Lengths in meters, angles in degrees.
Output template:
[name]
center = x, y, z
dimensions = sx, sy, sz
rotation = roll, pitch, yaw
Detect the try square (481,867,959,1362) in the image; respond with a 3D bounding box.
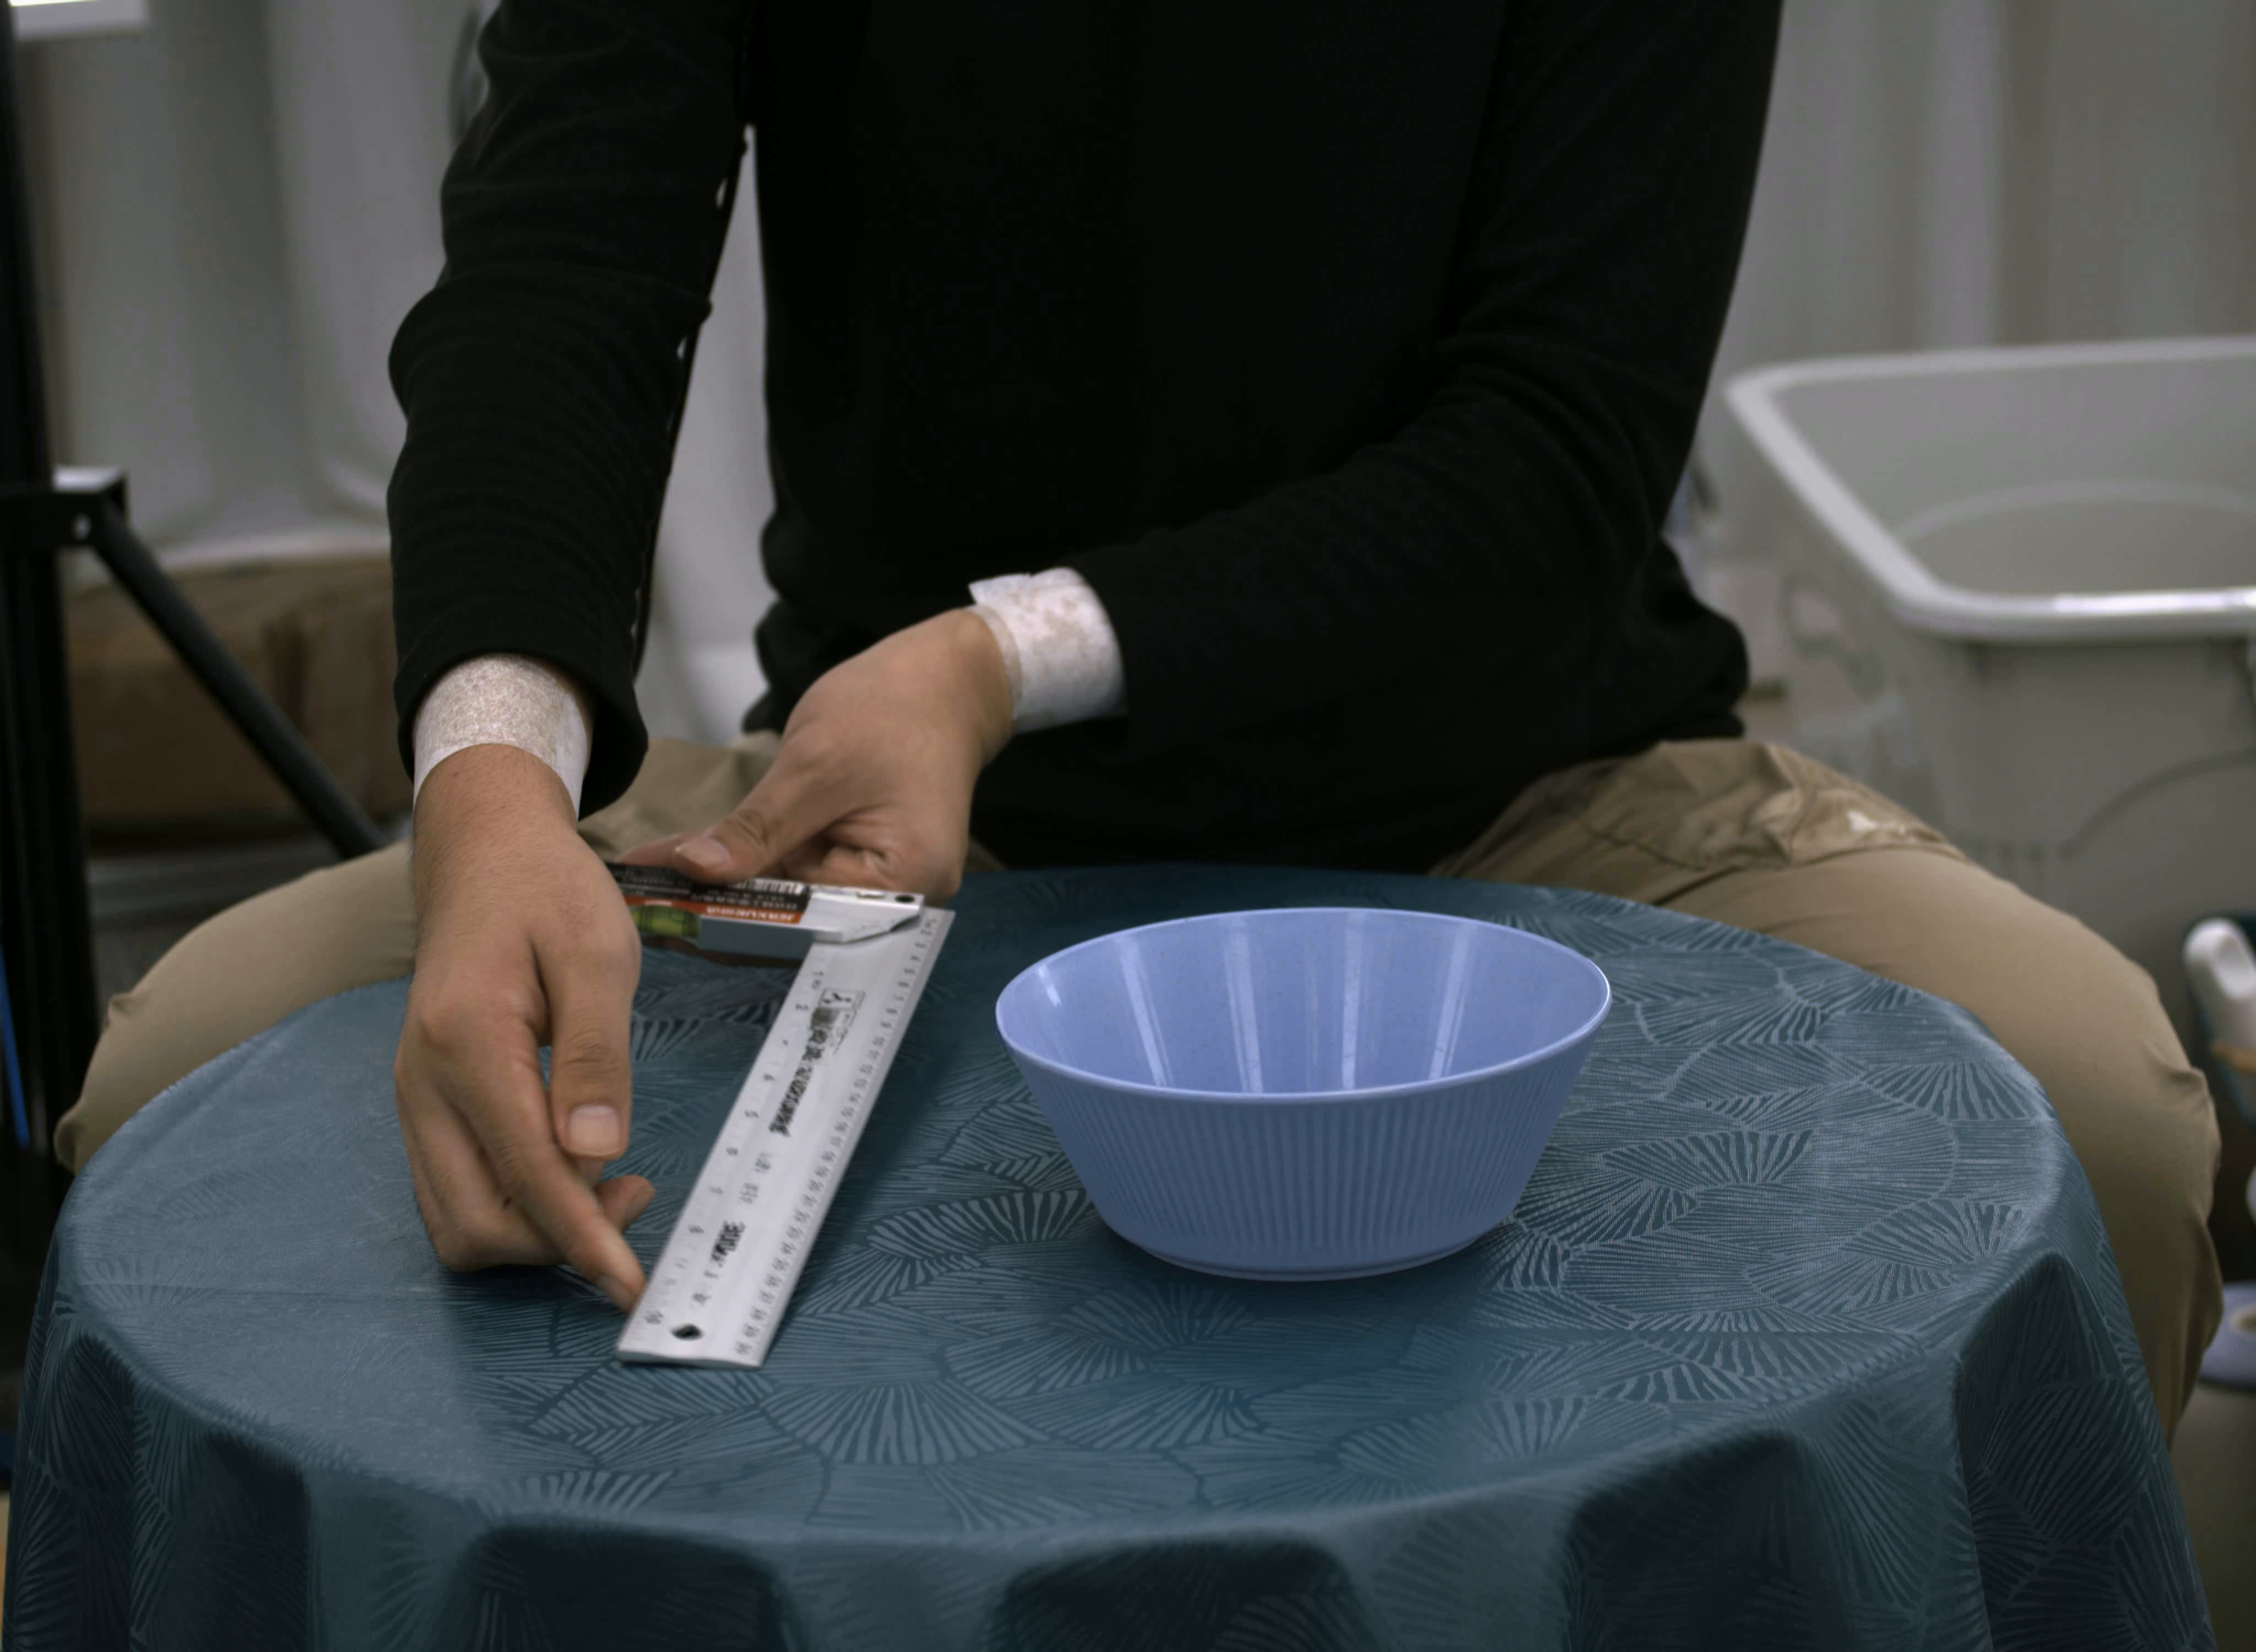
[try square]
center = -0.150, 0.081, 1.591
dimensions = 0.153, 0.016, 0.312
rotation = 2, 23, 9

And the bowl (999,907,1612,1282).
[bowl]
center = 0.052, 0.080, 1.521
dimensions = 0.175, 0.070, 0.177
rotation = -3, 16, 0
